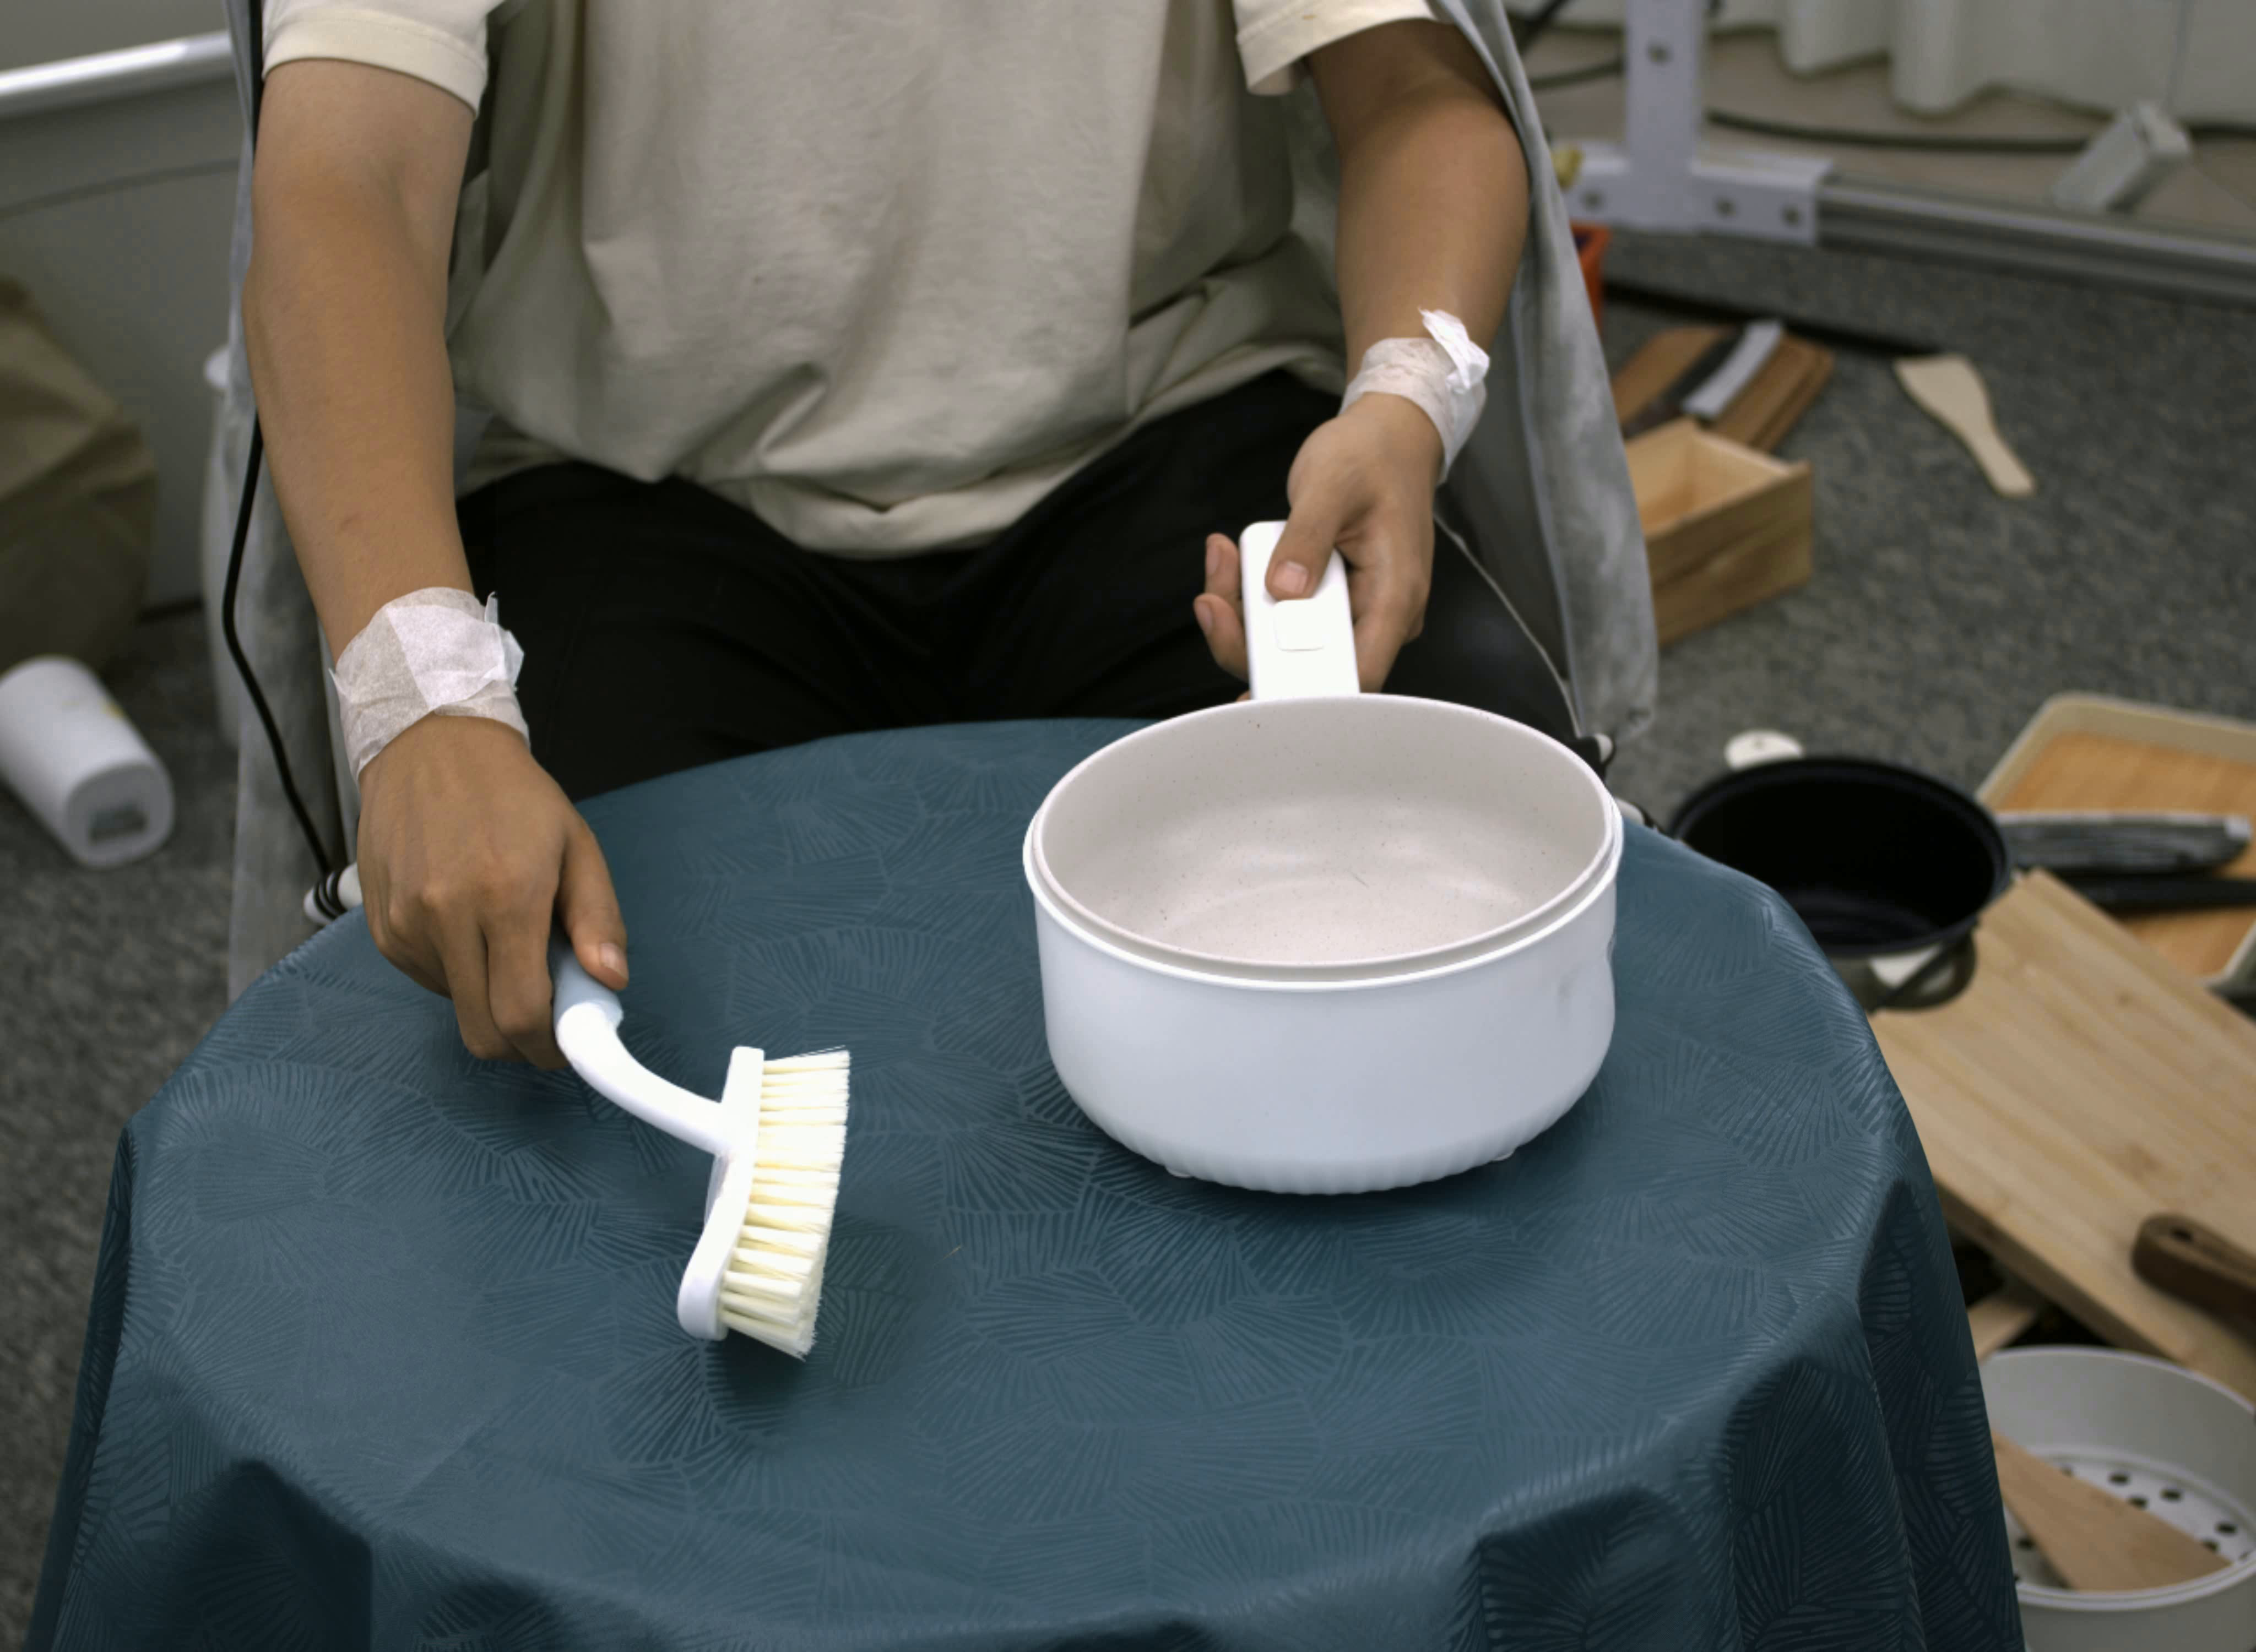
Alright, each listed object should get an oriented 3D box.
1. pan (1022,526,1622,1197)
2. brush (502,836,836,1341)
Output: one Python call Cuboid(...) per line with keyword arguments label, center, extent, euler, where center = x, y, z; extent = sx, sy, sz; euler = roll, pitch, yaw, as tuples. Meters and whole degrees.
Cuboid(label="pan", center=(0.066, 0.010, 1.966), extent=(0.200, 0.101, 0.360), euler=(-4, 26, 0))
Cuboid(label="brush", center=(-0.139, 0.077, 1.883), extent=(0.083, 0.084, 0.329), euler=(-43, 27, 7))
